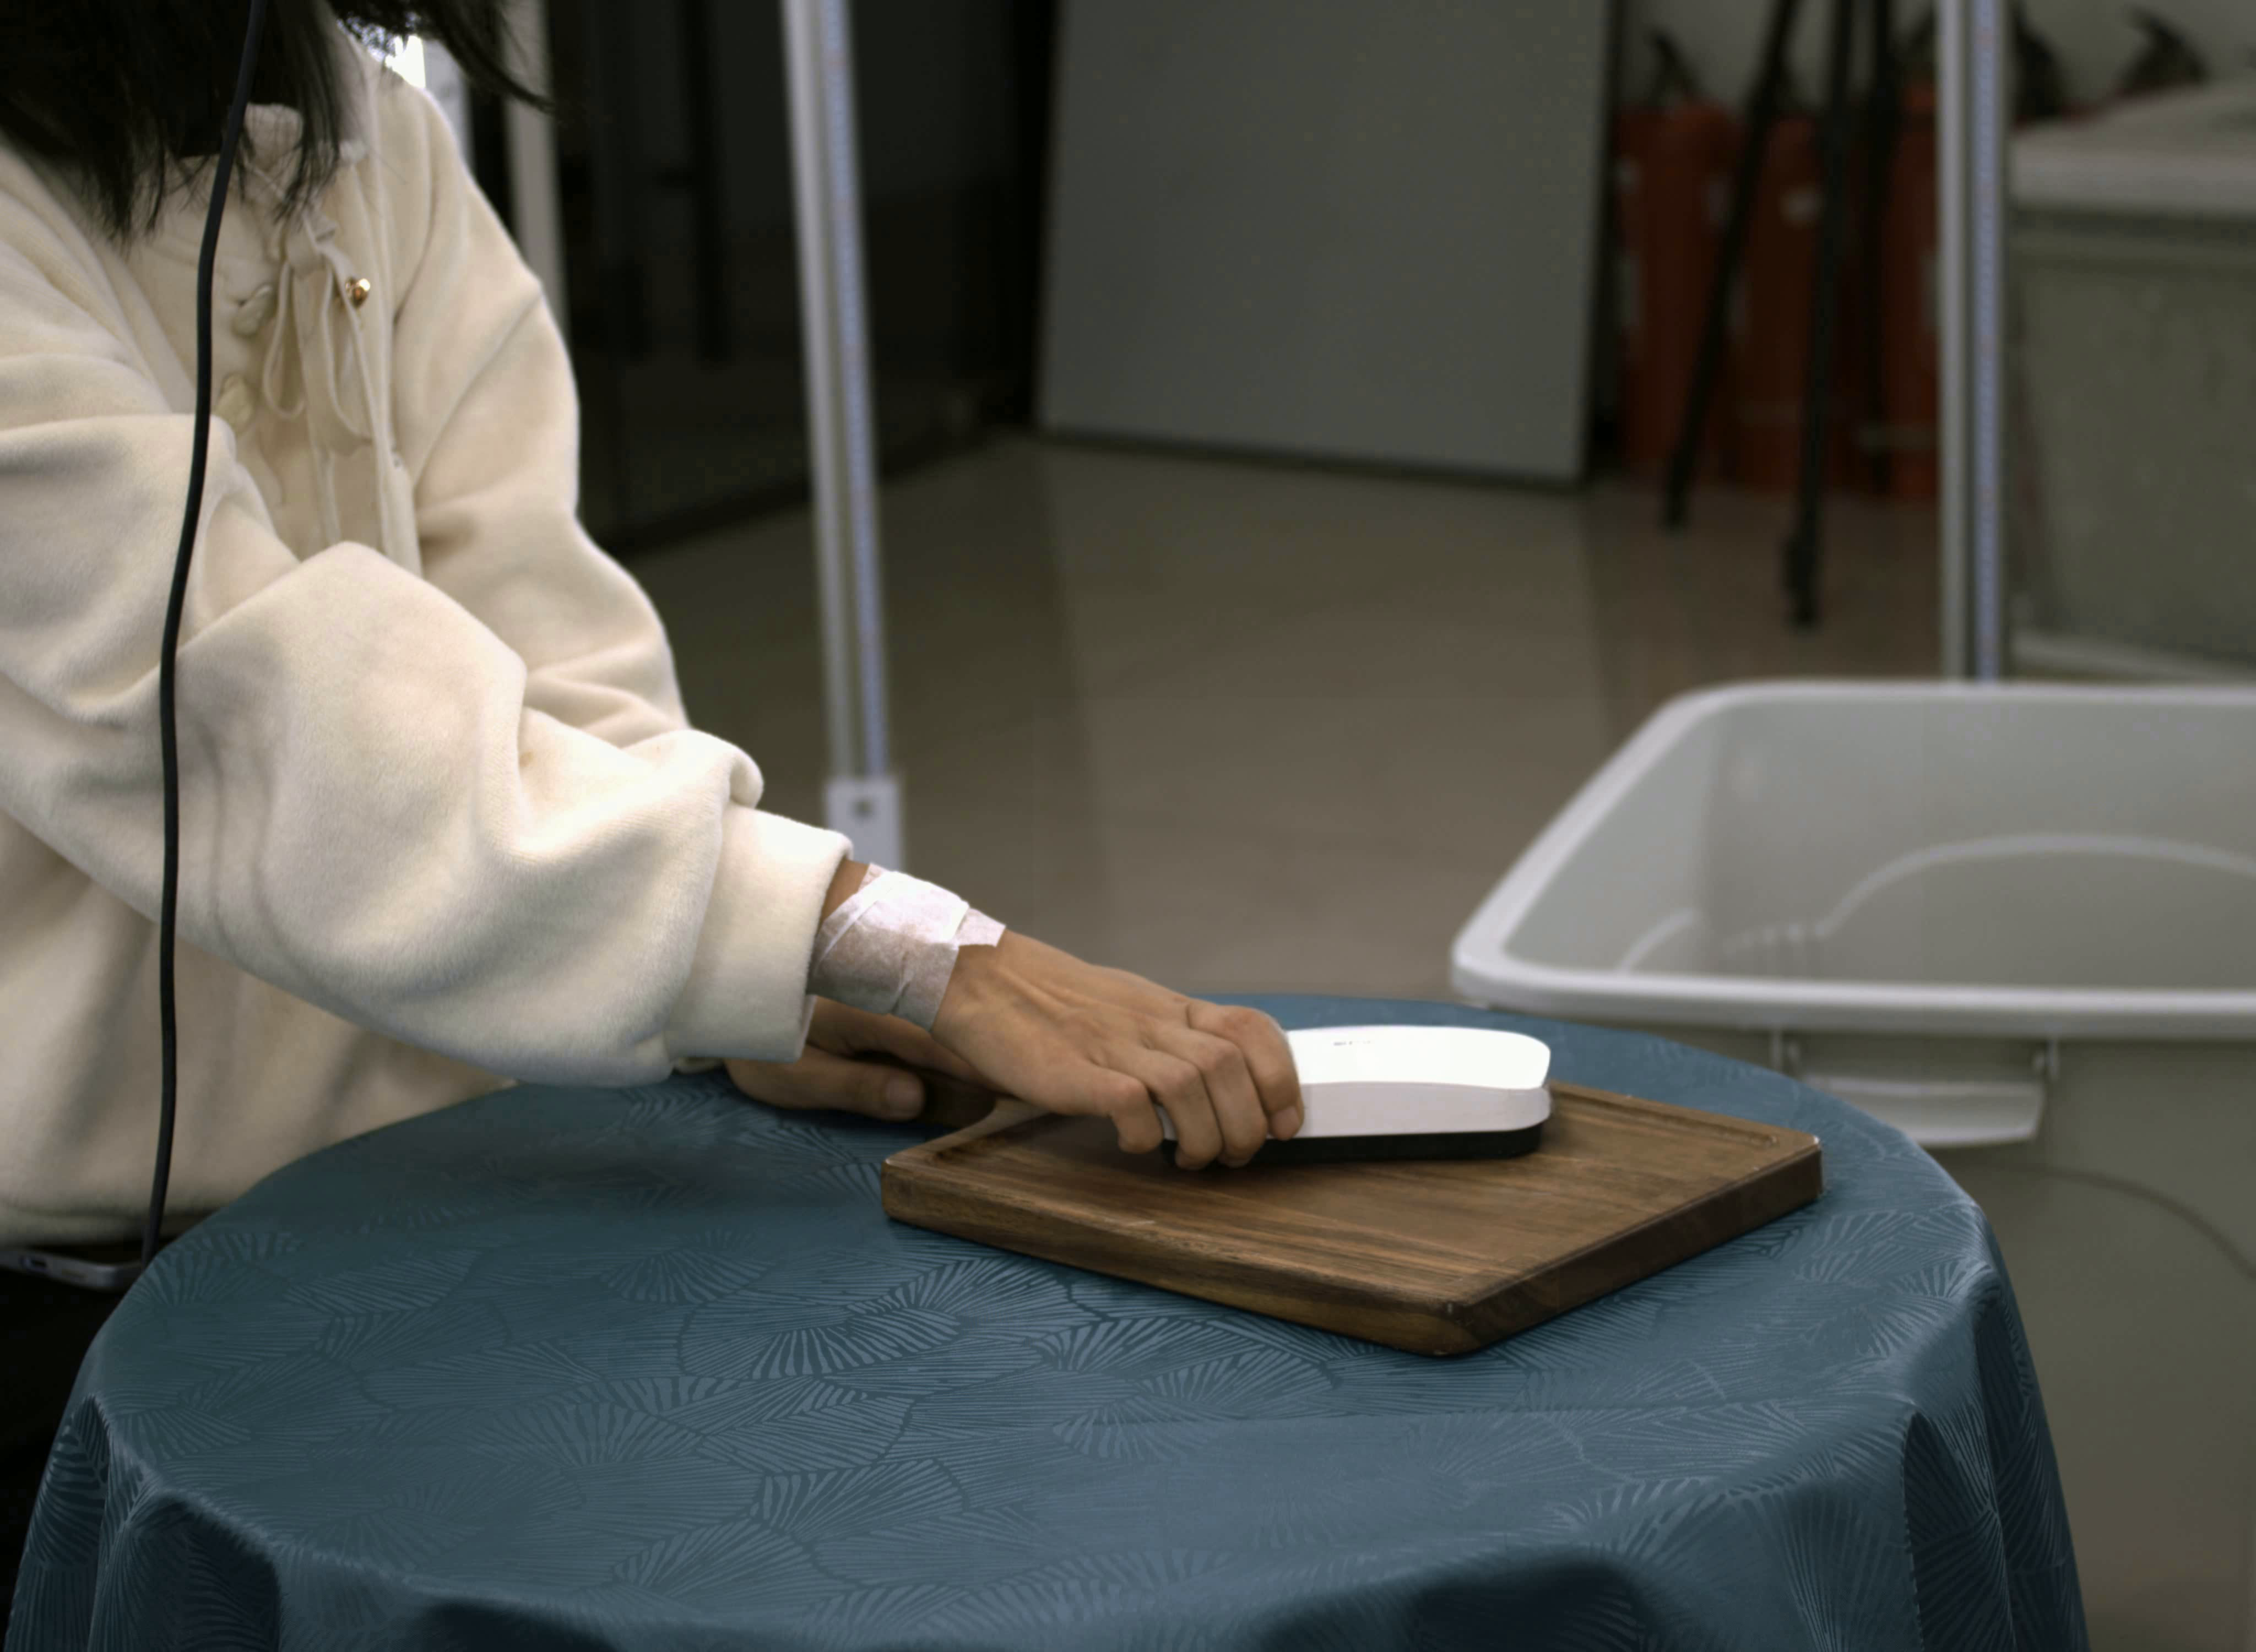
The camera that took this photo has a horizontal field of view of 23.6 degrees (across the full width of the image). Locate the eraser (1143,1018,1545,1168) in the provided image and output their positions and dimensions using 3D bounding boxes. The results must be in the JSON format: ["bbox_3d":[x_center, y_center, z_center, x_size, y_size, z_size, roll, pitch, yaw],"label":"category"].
[{"bbox_3d":[0.071,0.087,1.758,0.130,0.035,0.063,-1,14,9],"label":"eraser"}]

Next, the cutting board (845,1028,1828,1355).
[{"bbox_3d":[0.036,0.108,1.770,0.355,0.023,0.197,9,19,43],"label":"cutting board"}]
